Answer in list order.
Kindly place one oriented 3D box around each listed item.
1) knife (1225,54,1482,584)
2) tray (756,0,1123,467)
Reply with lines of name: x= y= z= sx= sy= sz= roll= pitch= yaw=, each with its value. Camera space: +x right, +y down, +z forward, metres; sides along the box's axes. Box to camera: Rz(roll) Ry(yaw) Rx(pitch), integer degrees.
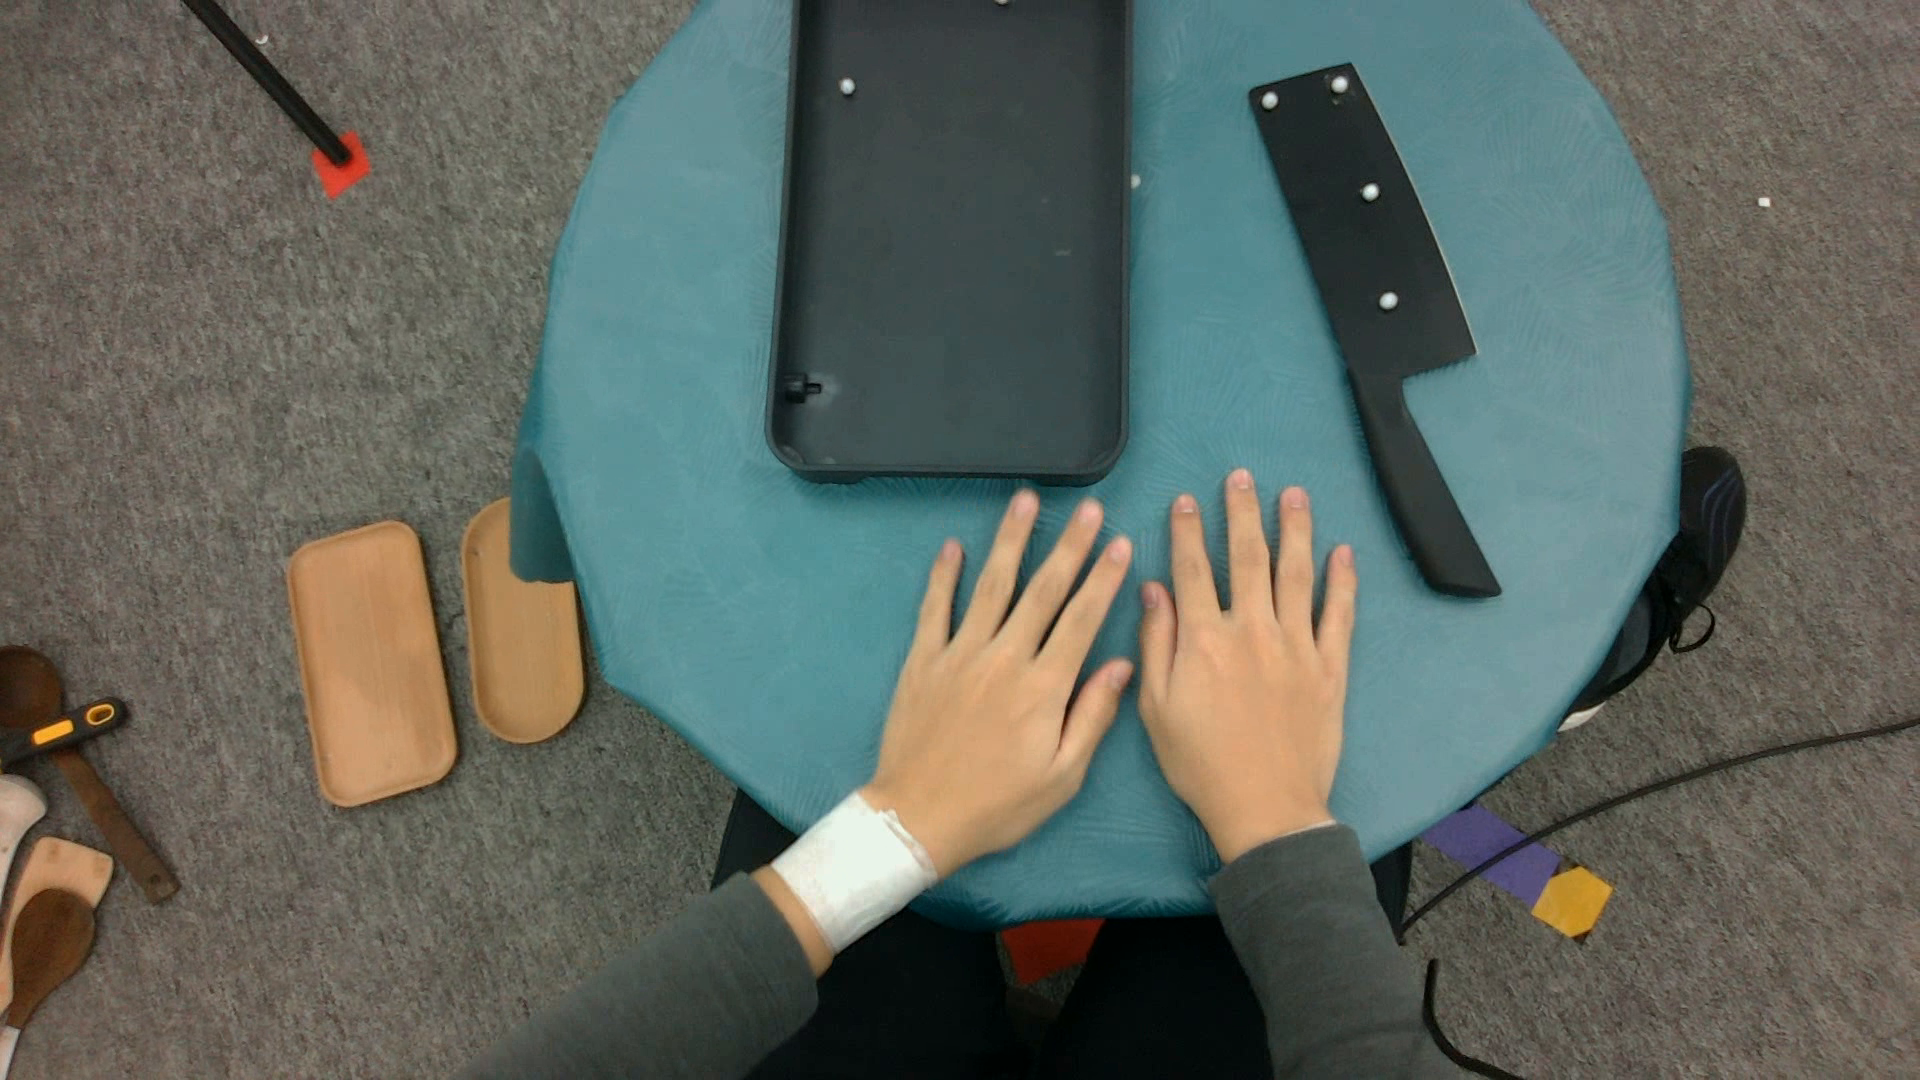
knife: x=0.213 y=-0.121 z=0.716 sx=0.081 sy=0.021 sz=0.303 roll=-12 pitch=75 yaw=-1
tray: x=-0.011 y=-0.195 z=0.732 sx=0.184 sy=0.037 sz=0.318 roll=-1 pitch=77 yaw=2
